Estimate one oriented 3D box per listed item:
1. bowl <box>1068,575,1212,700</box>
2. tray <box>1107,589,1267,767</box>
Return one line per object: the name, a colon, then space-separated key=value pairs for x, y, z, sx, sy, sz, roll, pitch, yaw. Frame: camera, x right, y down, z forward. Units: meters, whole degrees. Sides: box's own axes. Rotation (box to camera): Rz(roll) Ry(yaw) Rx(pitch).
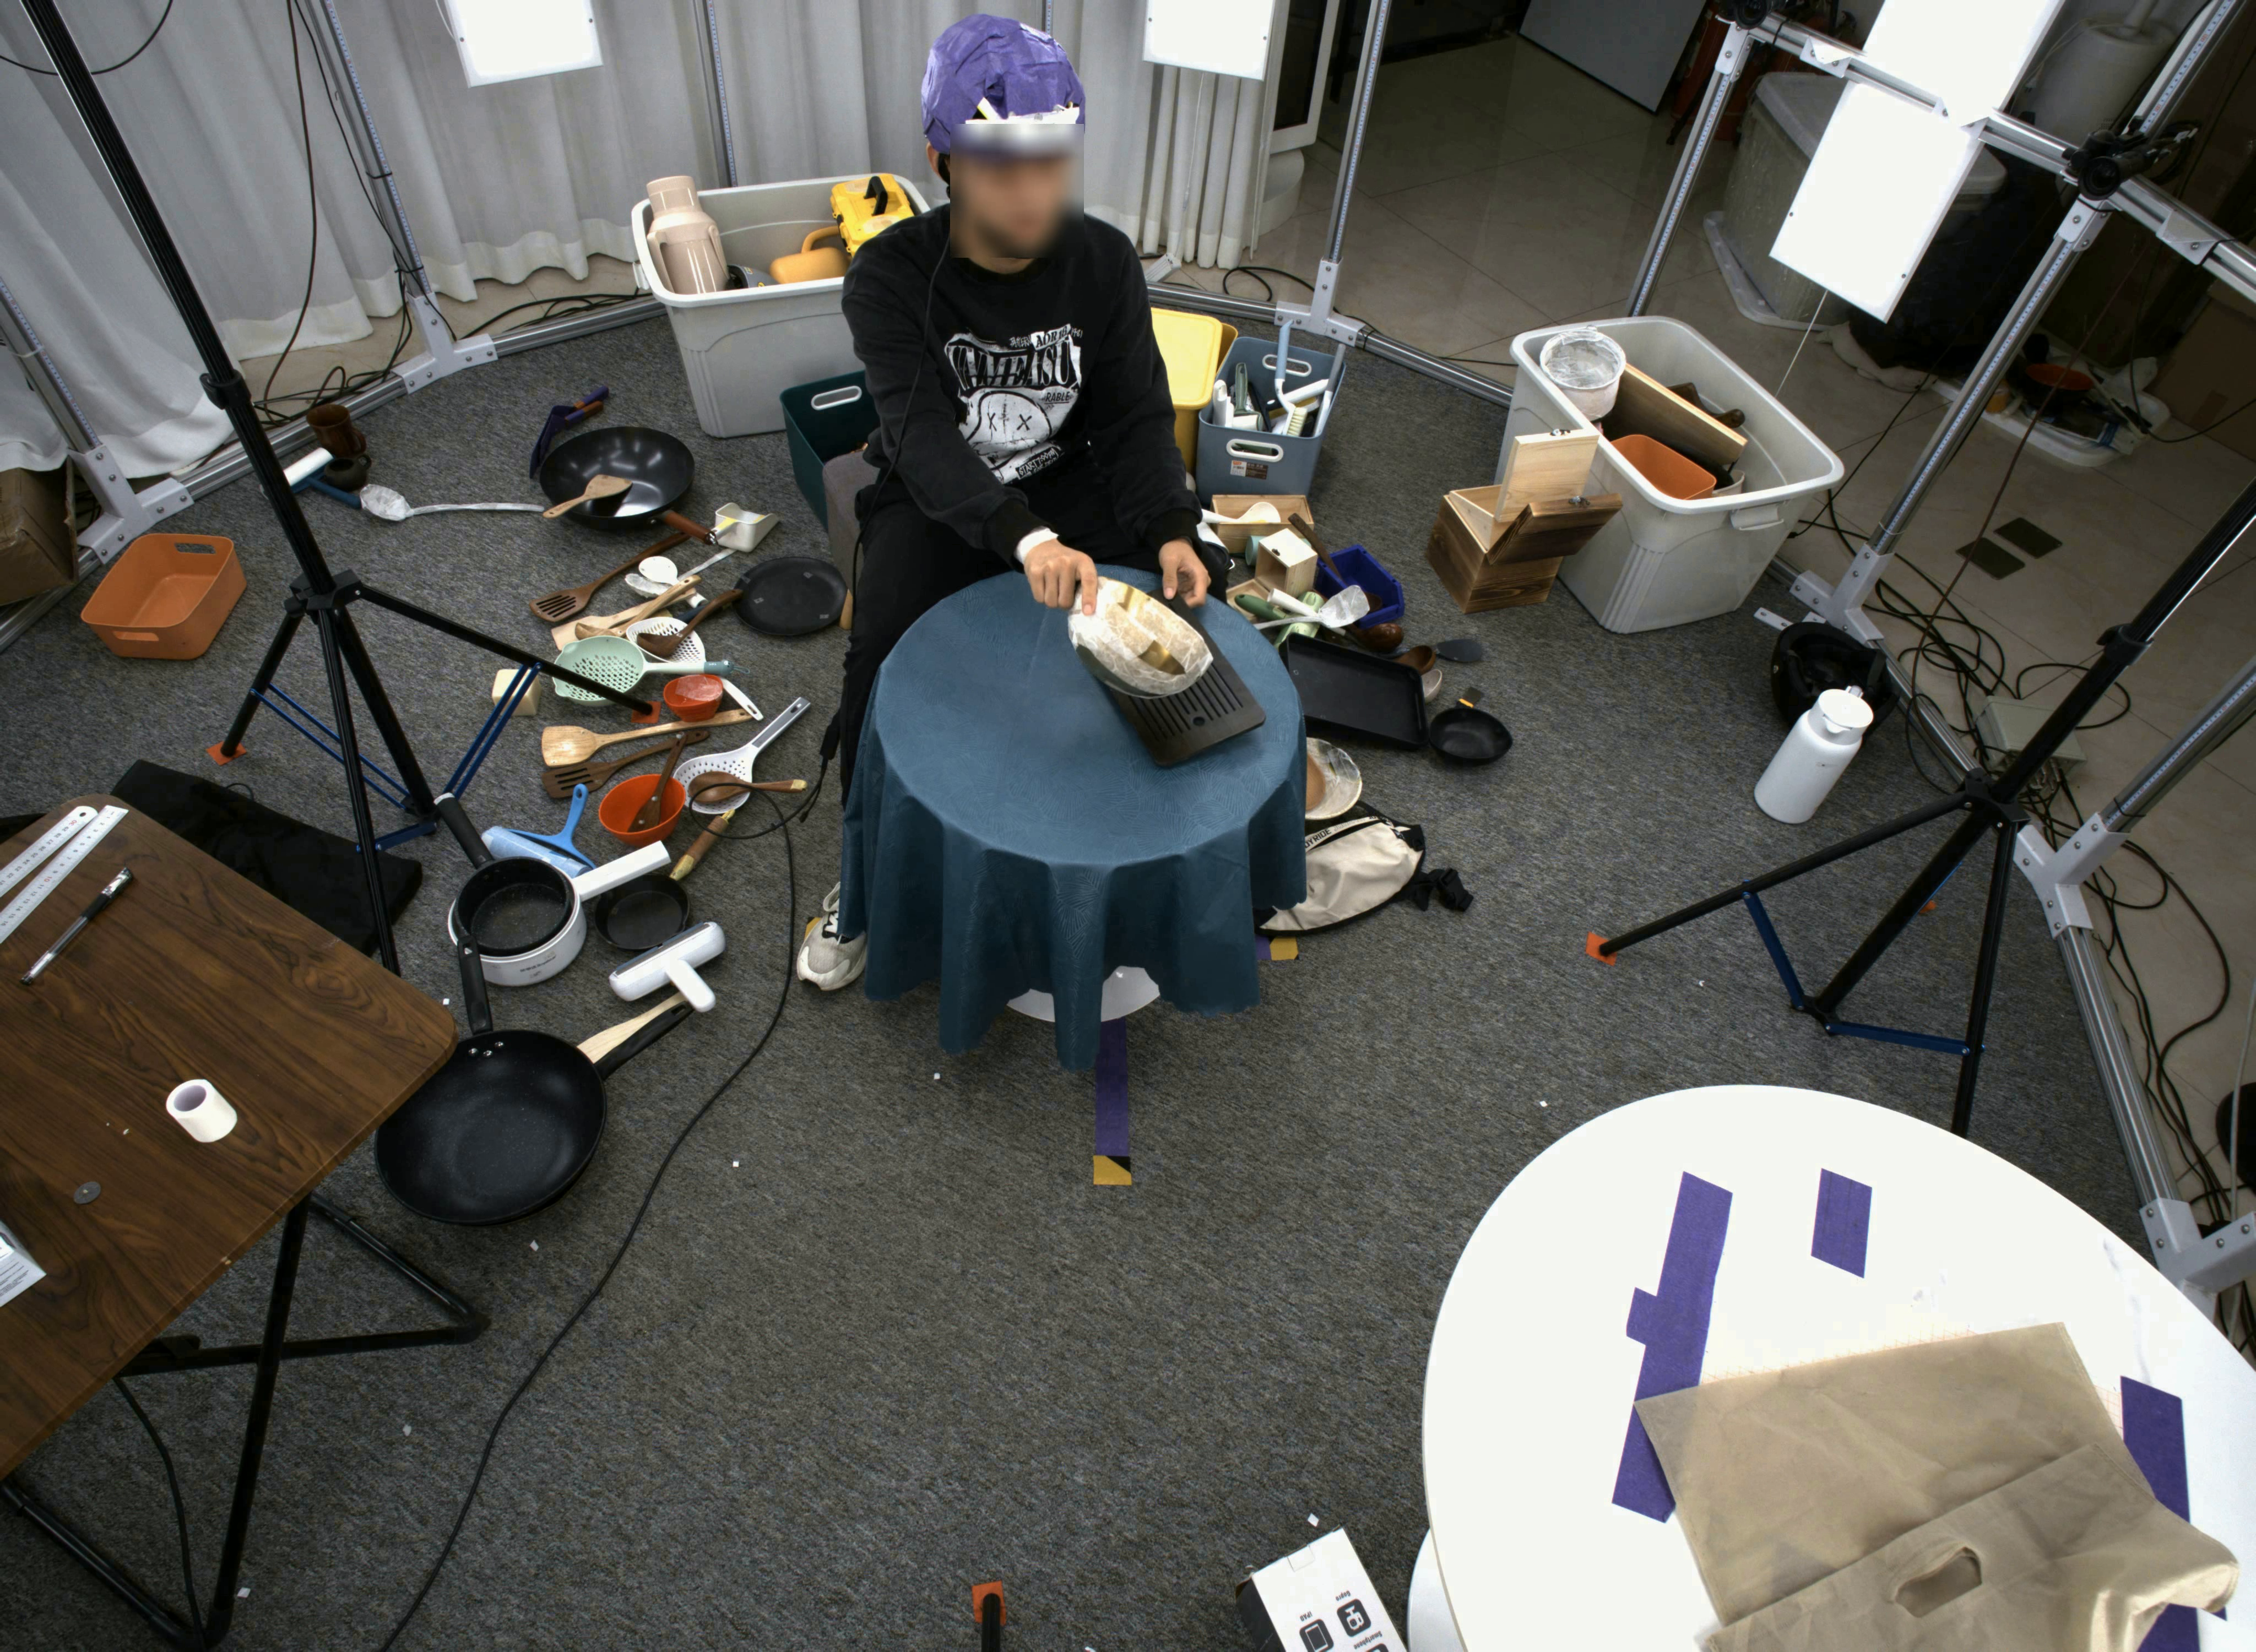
bowl: x=-0.002 y=-0.227 z=1.678 sx=0.217 sy=0.211 sz=0.095 roll=28 pitch=80 yaw=19
tray: x=0.058 y=-0.218 z=1.849 sx=0.170 sy=0.018 sz=0.313 roll=-23 pitch=53 yaw=-10
